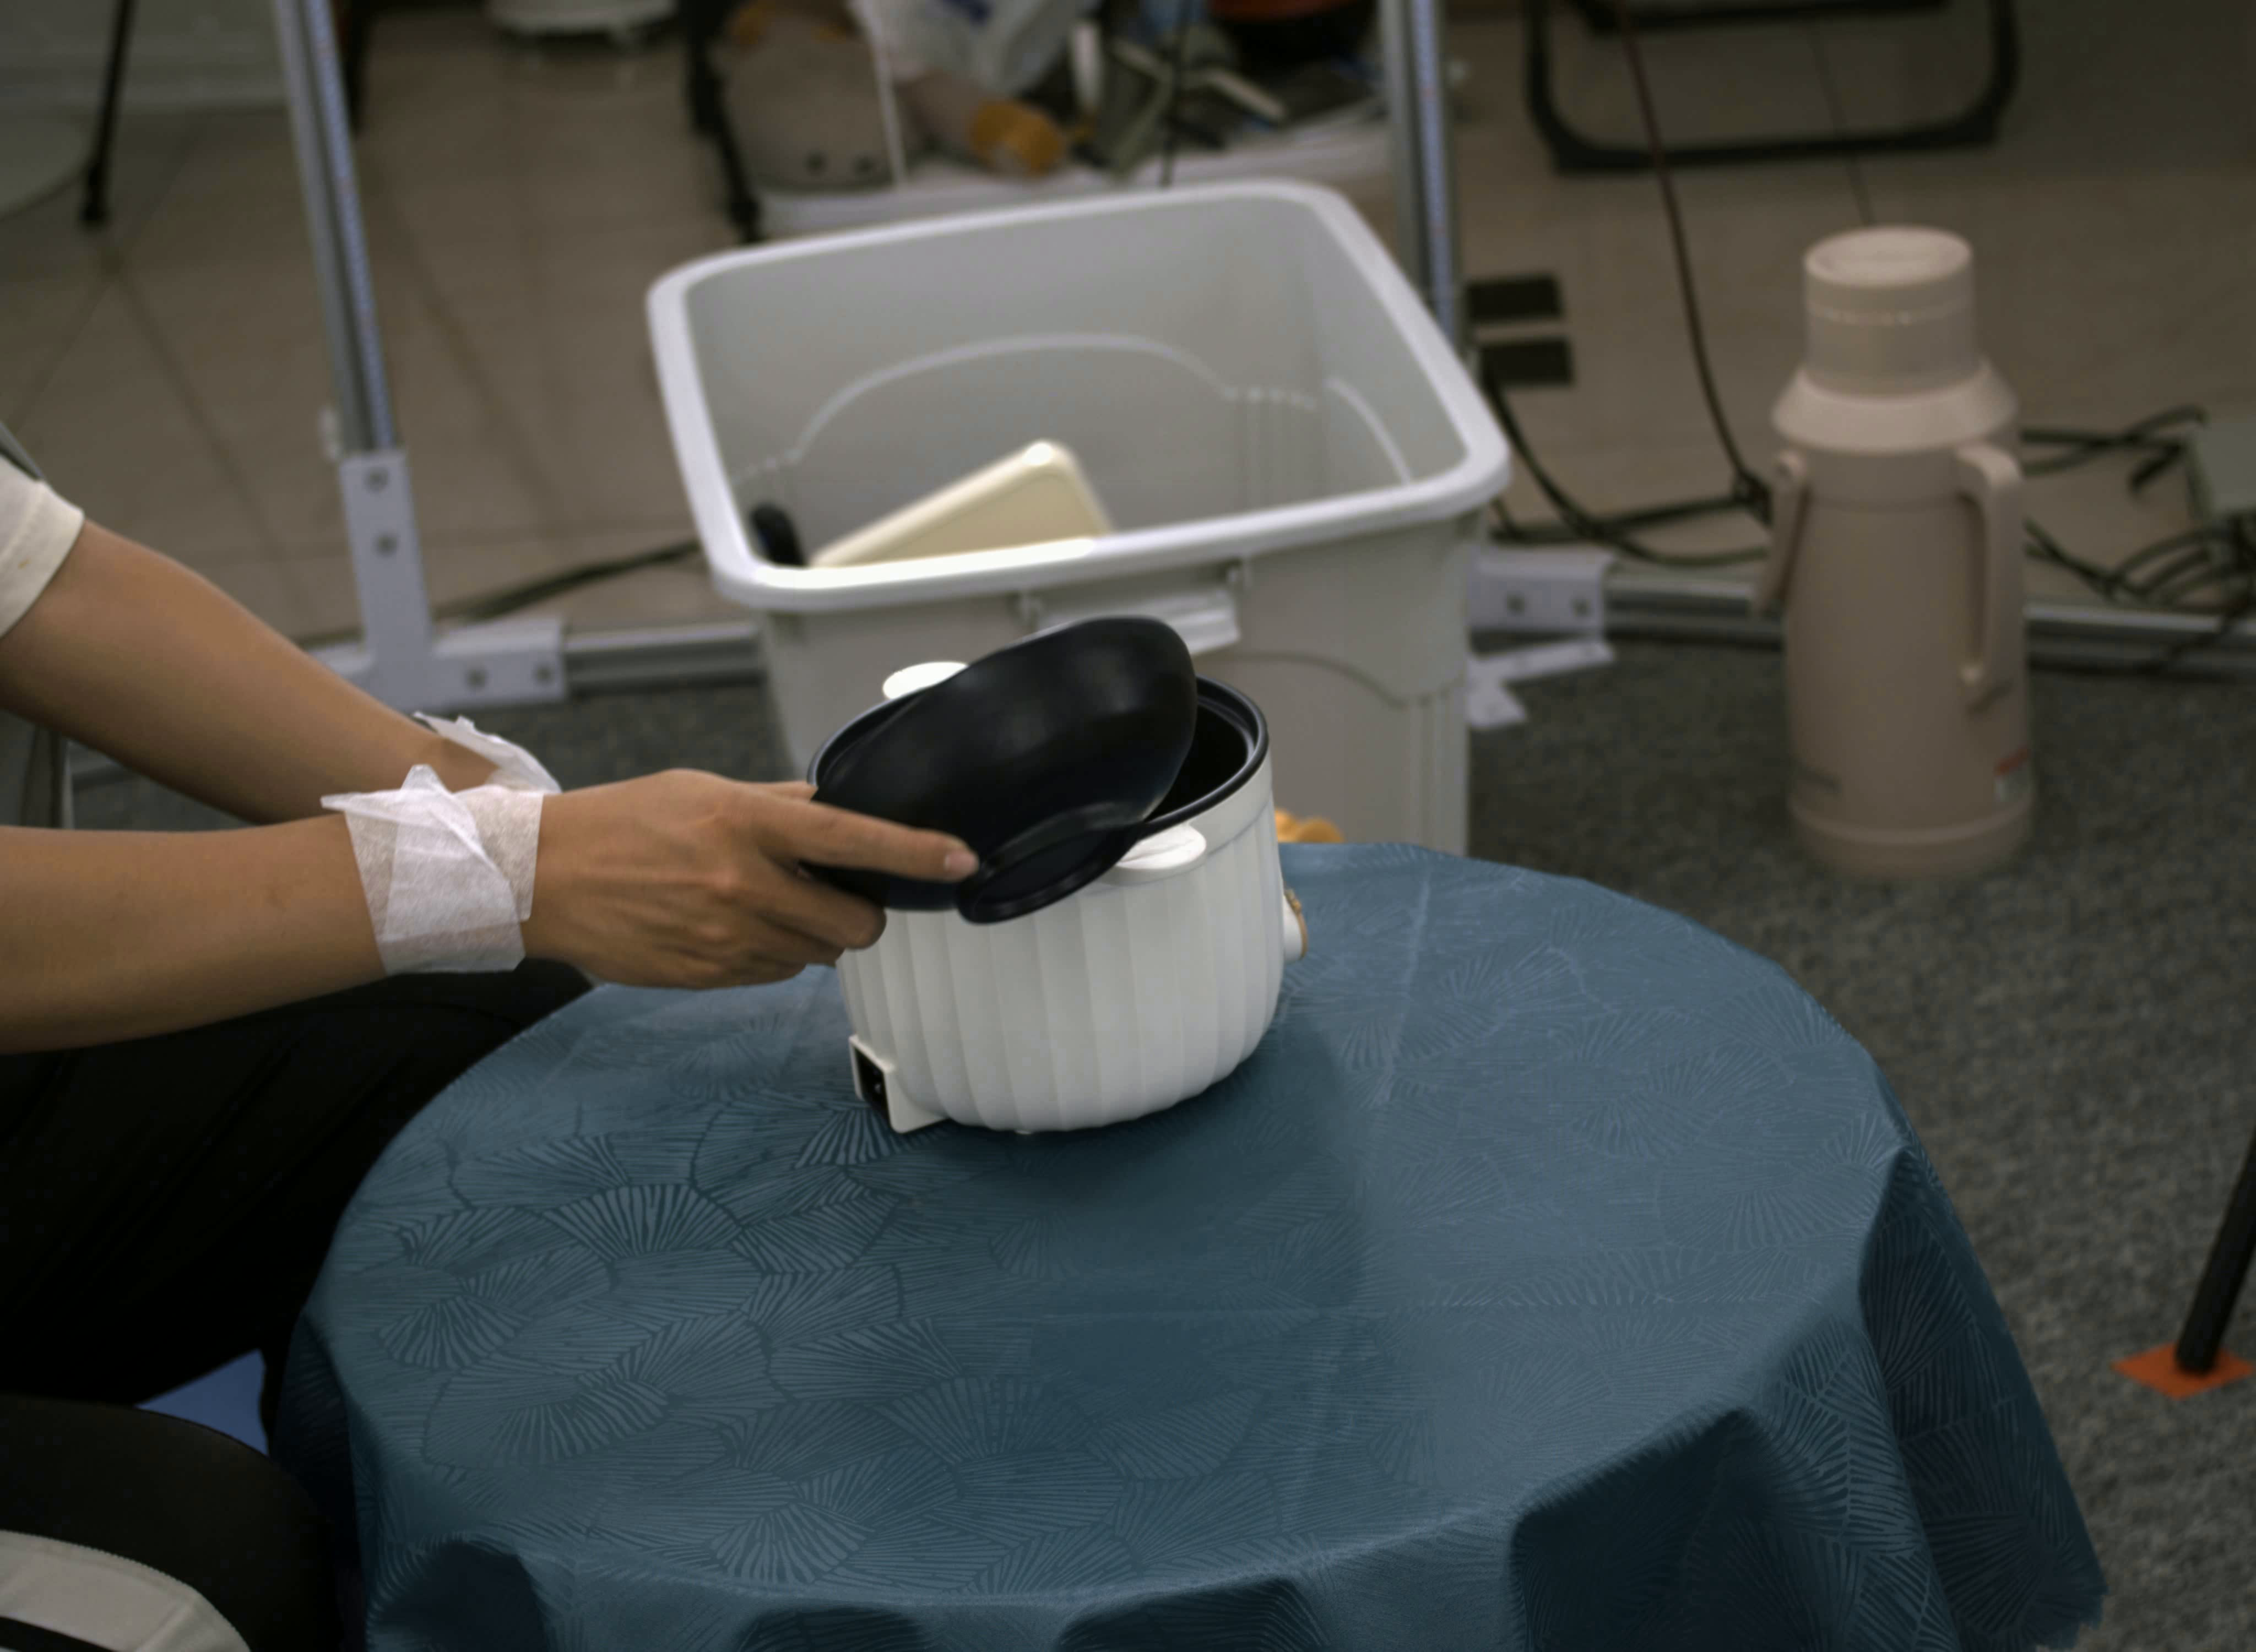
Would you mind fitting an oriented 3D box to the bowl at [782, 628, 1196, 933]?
[{"bbox_3d":[-0.040,-0.007,2.024,0.169,0.139,0.066,-20,74,-28],"label":"bowl"}]

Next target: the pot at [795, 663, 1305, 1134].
[{"bbox_3d":[-0.025,0.029,2.227,0.189,0.145,0.237,-21,29,-20],"label":"pot"}]
